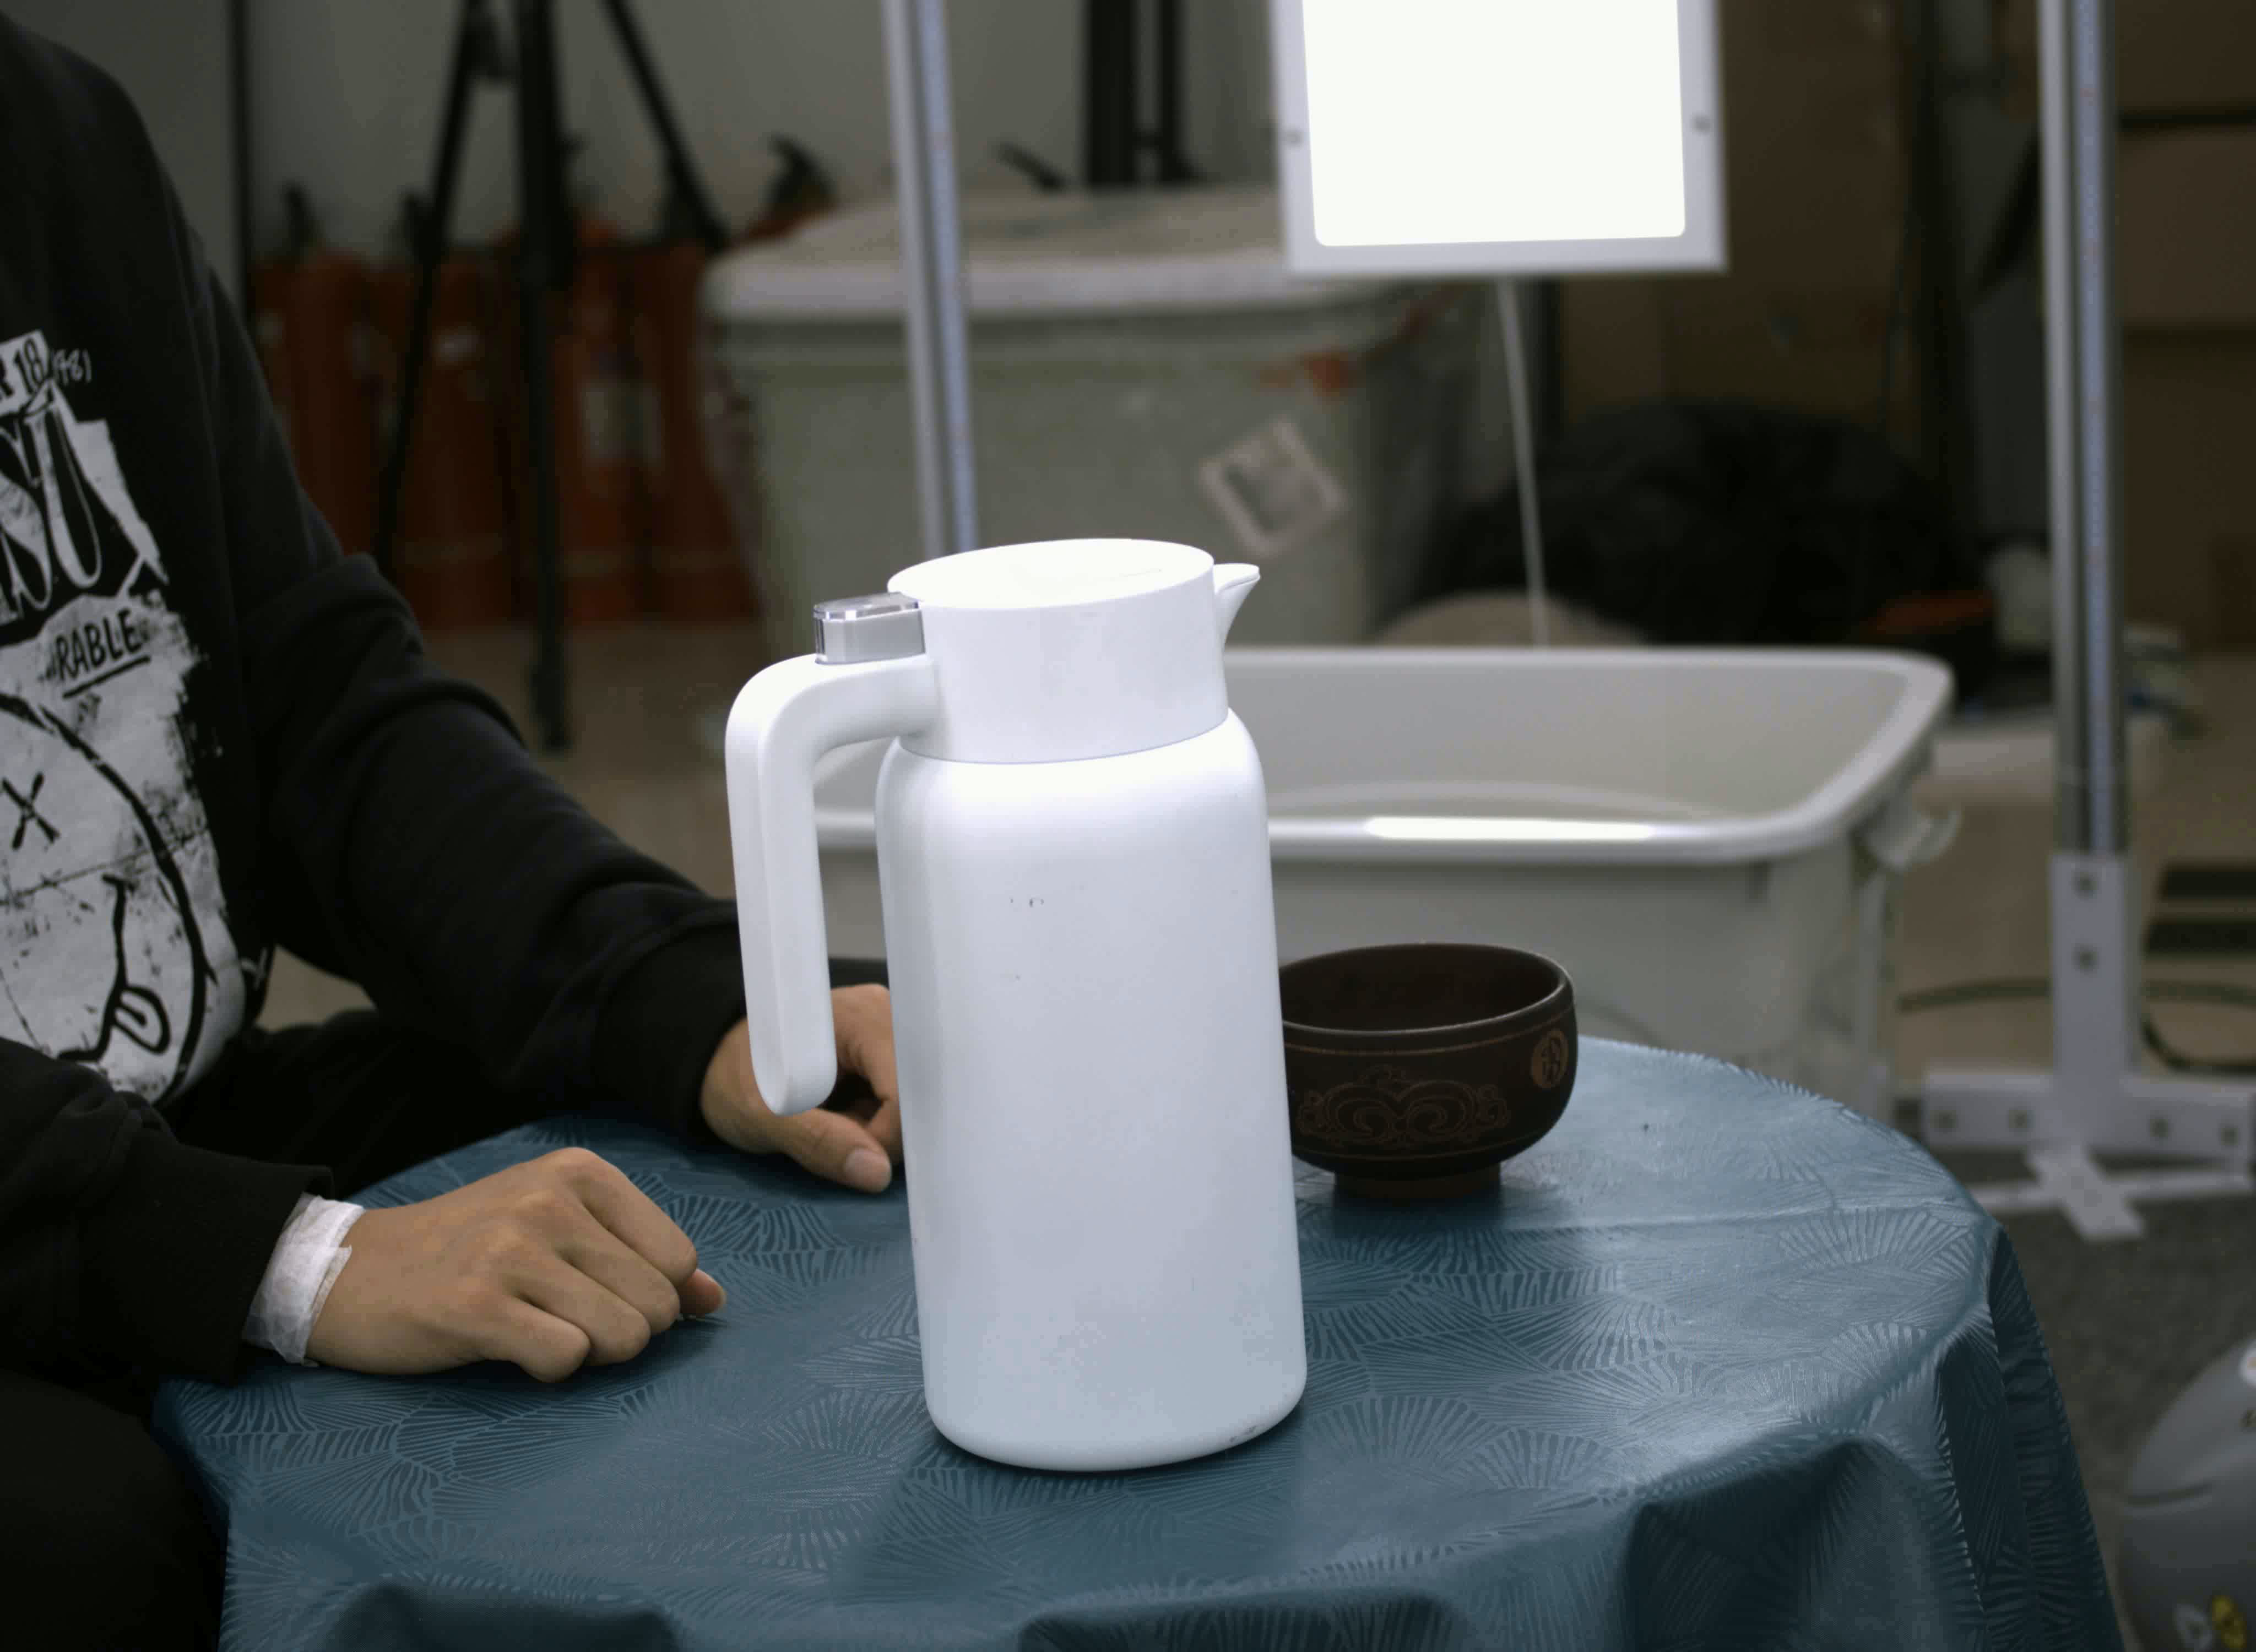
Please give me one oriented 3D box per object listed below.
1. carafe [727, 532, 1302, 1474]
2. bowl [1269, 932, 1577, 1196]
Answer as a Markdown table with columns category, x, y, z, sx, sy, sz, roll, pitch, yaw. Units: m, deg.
| category | x | y | z | sx | sy | sz | roll | pitch | yaw |
| --- | --- | --- | --- | --- | --- | --- | --- | --- | --- |
| carafe | -0.028 | 0.055 | 1.641 | 0.169 | 0.270 | 0.126 | -11 | 17 | -24 |
| bowl | 0.096 | 0.085 | 1.878 | 0.118 | 0.070 | 0.118 | -6 | 14 | 0 |
